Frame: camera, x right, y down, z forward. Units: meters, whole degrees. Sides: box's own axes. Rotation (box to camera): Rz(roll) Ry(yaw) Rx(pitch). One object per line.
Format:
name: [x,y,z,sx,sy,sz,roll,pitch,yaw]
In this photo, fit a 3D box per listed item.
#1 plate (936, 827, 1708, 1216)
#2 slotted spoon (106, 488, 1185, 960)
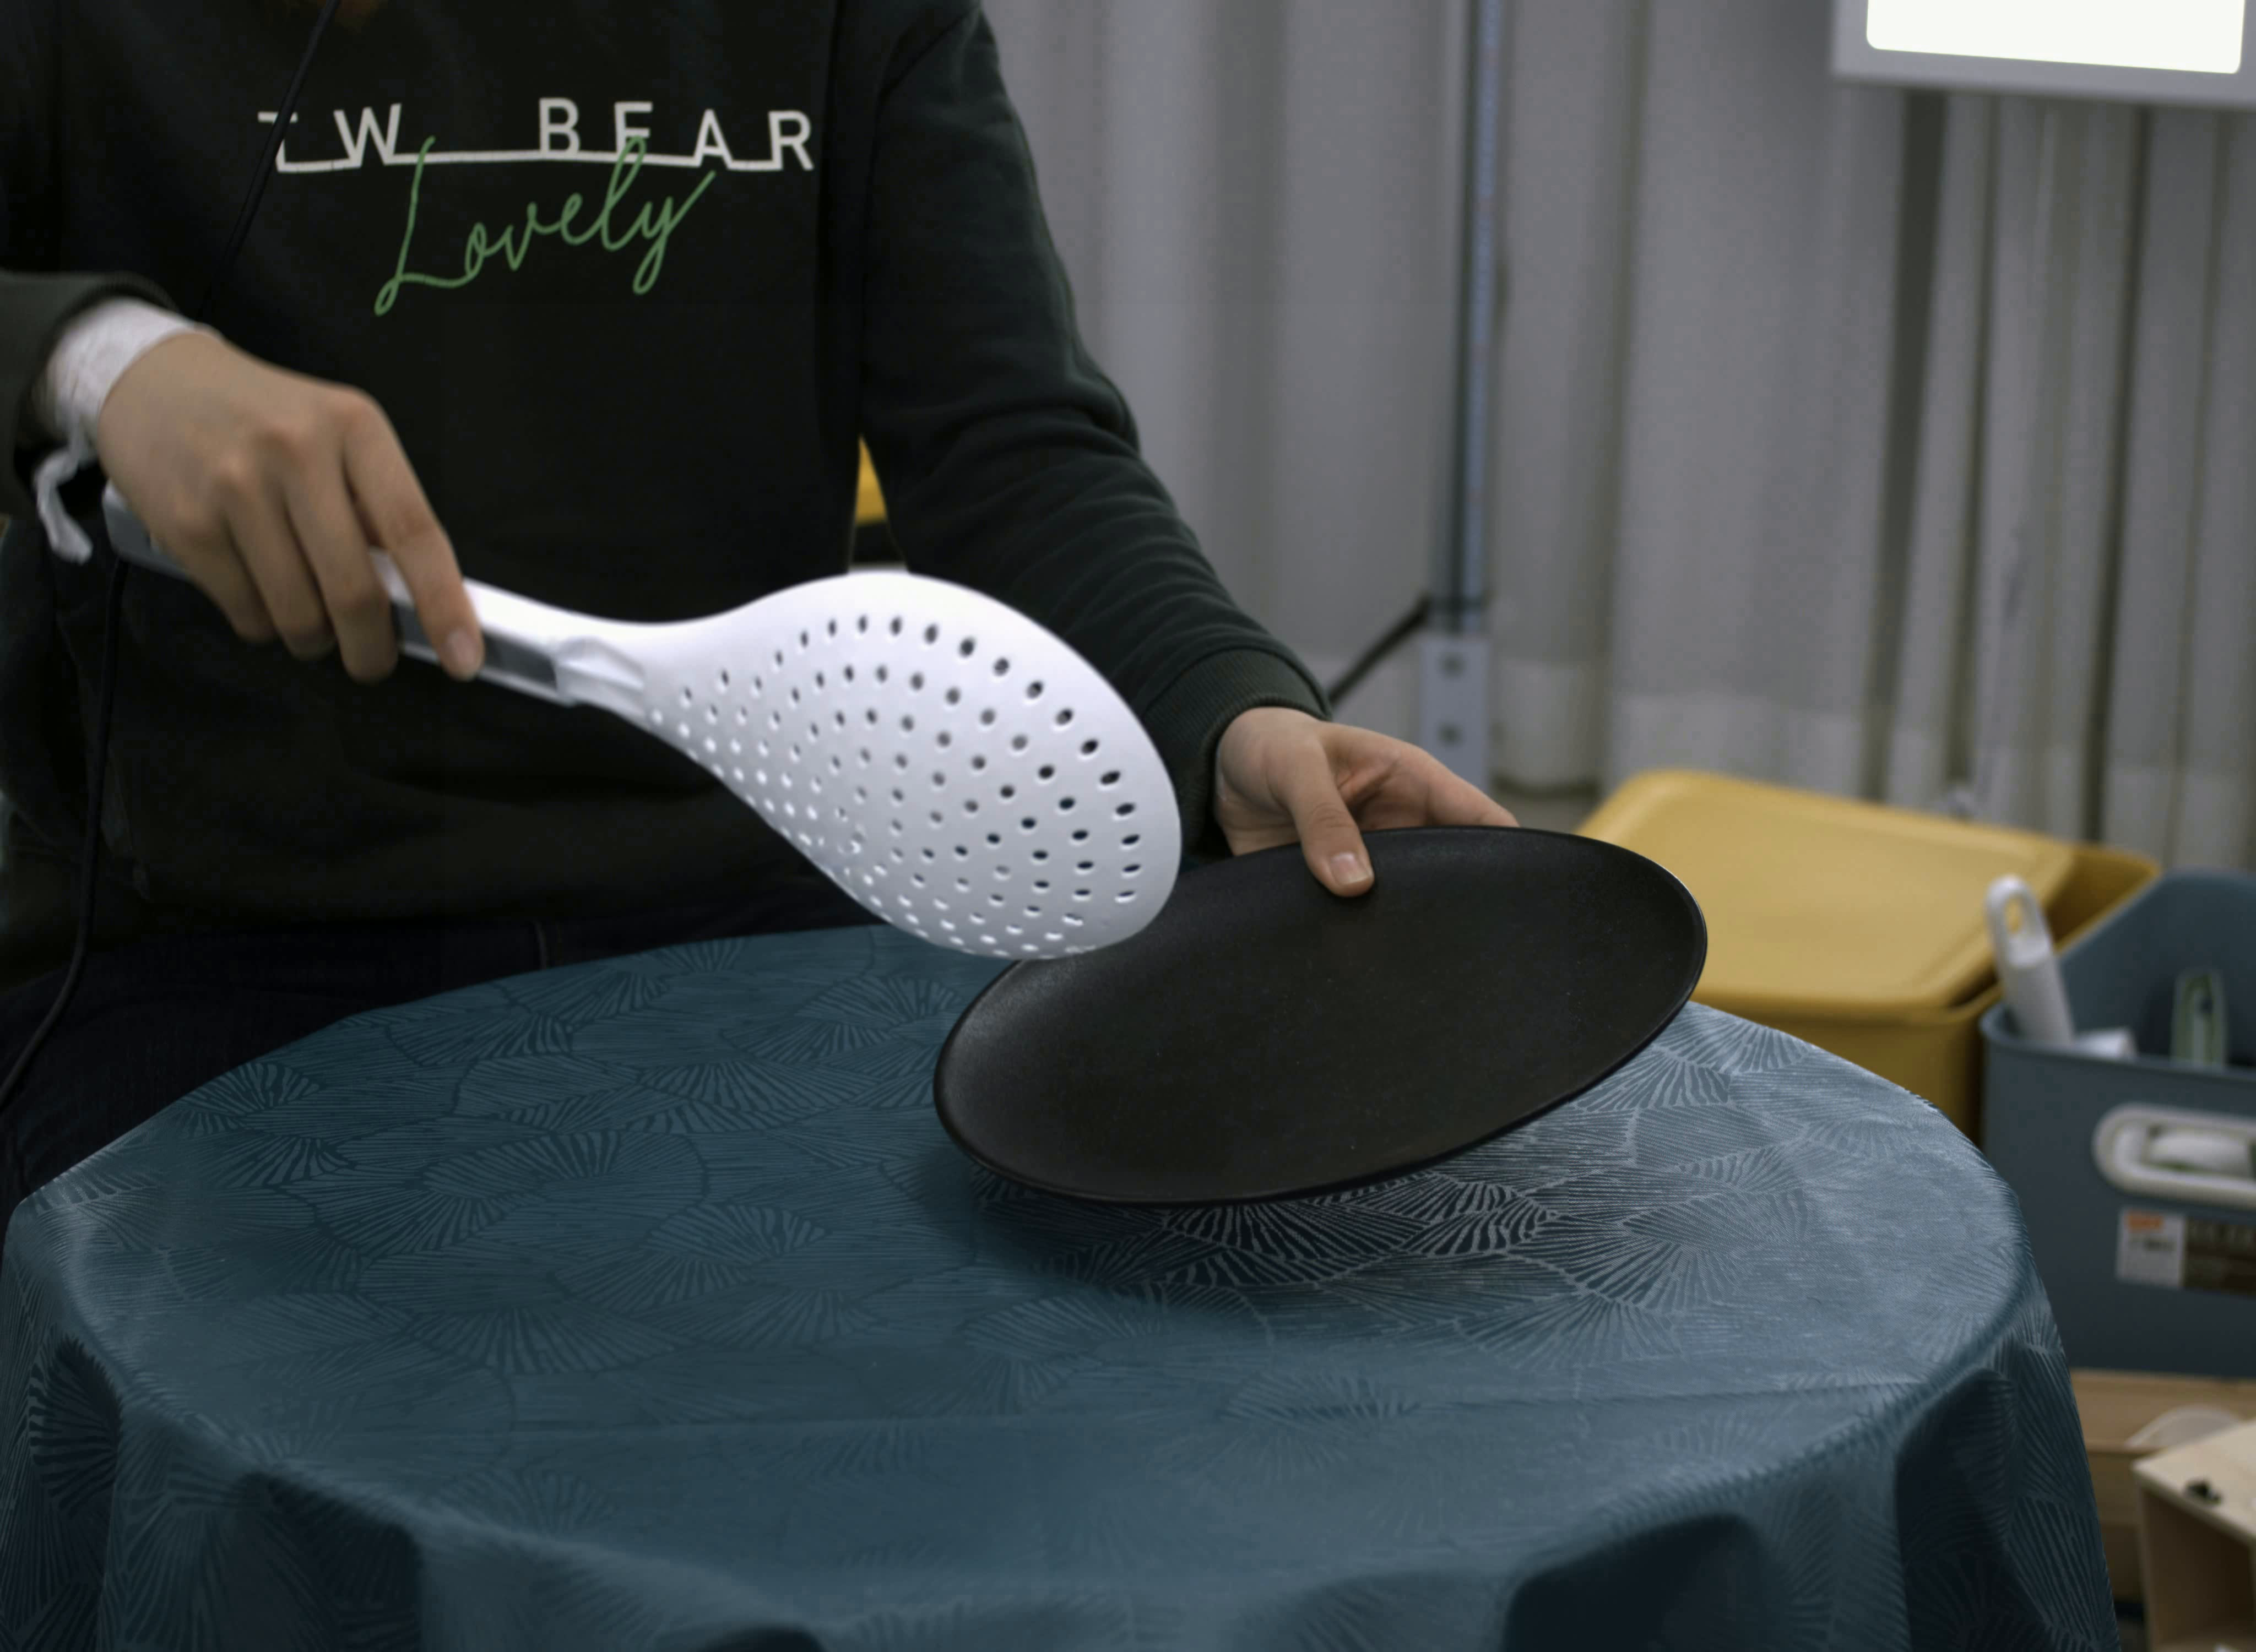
plate: [0.061,0.064,1.626,0.243,0.024,0.242,-11,24,6]
slotted spoon: [-0.144,-0.042,1.498,0.346,0.138,0.045,21,49,23]
